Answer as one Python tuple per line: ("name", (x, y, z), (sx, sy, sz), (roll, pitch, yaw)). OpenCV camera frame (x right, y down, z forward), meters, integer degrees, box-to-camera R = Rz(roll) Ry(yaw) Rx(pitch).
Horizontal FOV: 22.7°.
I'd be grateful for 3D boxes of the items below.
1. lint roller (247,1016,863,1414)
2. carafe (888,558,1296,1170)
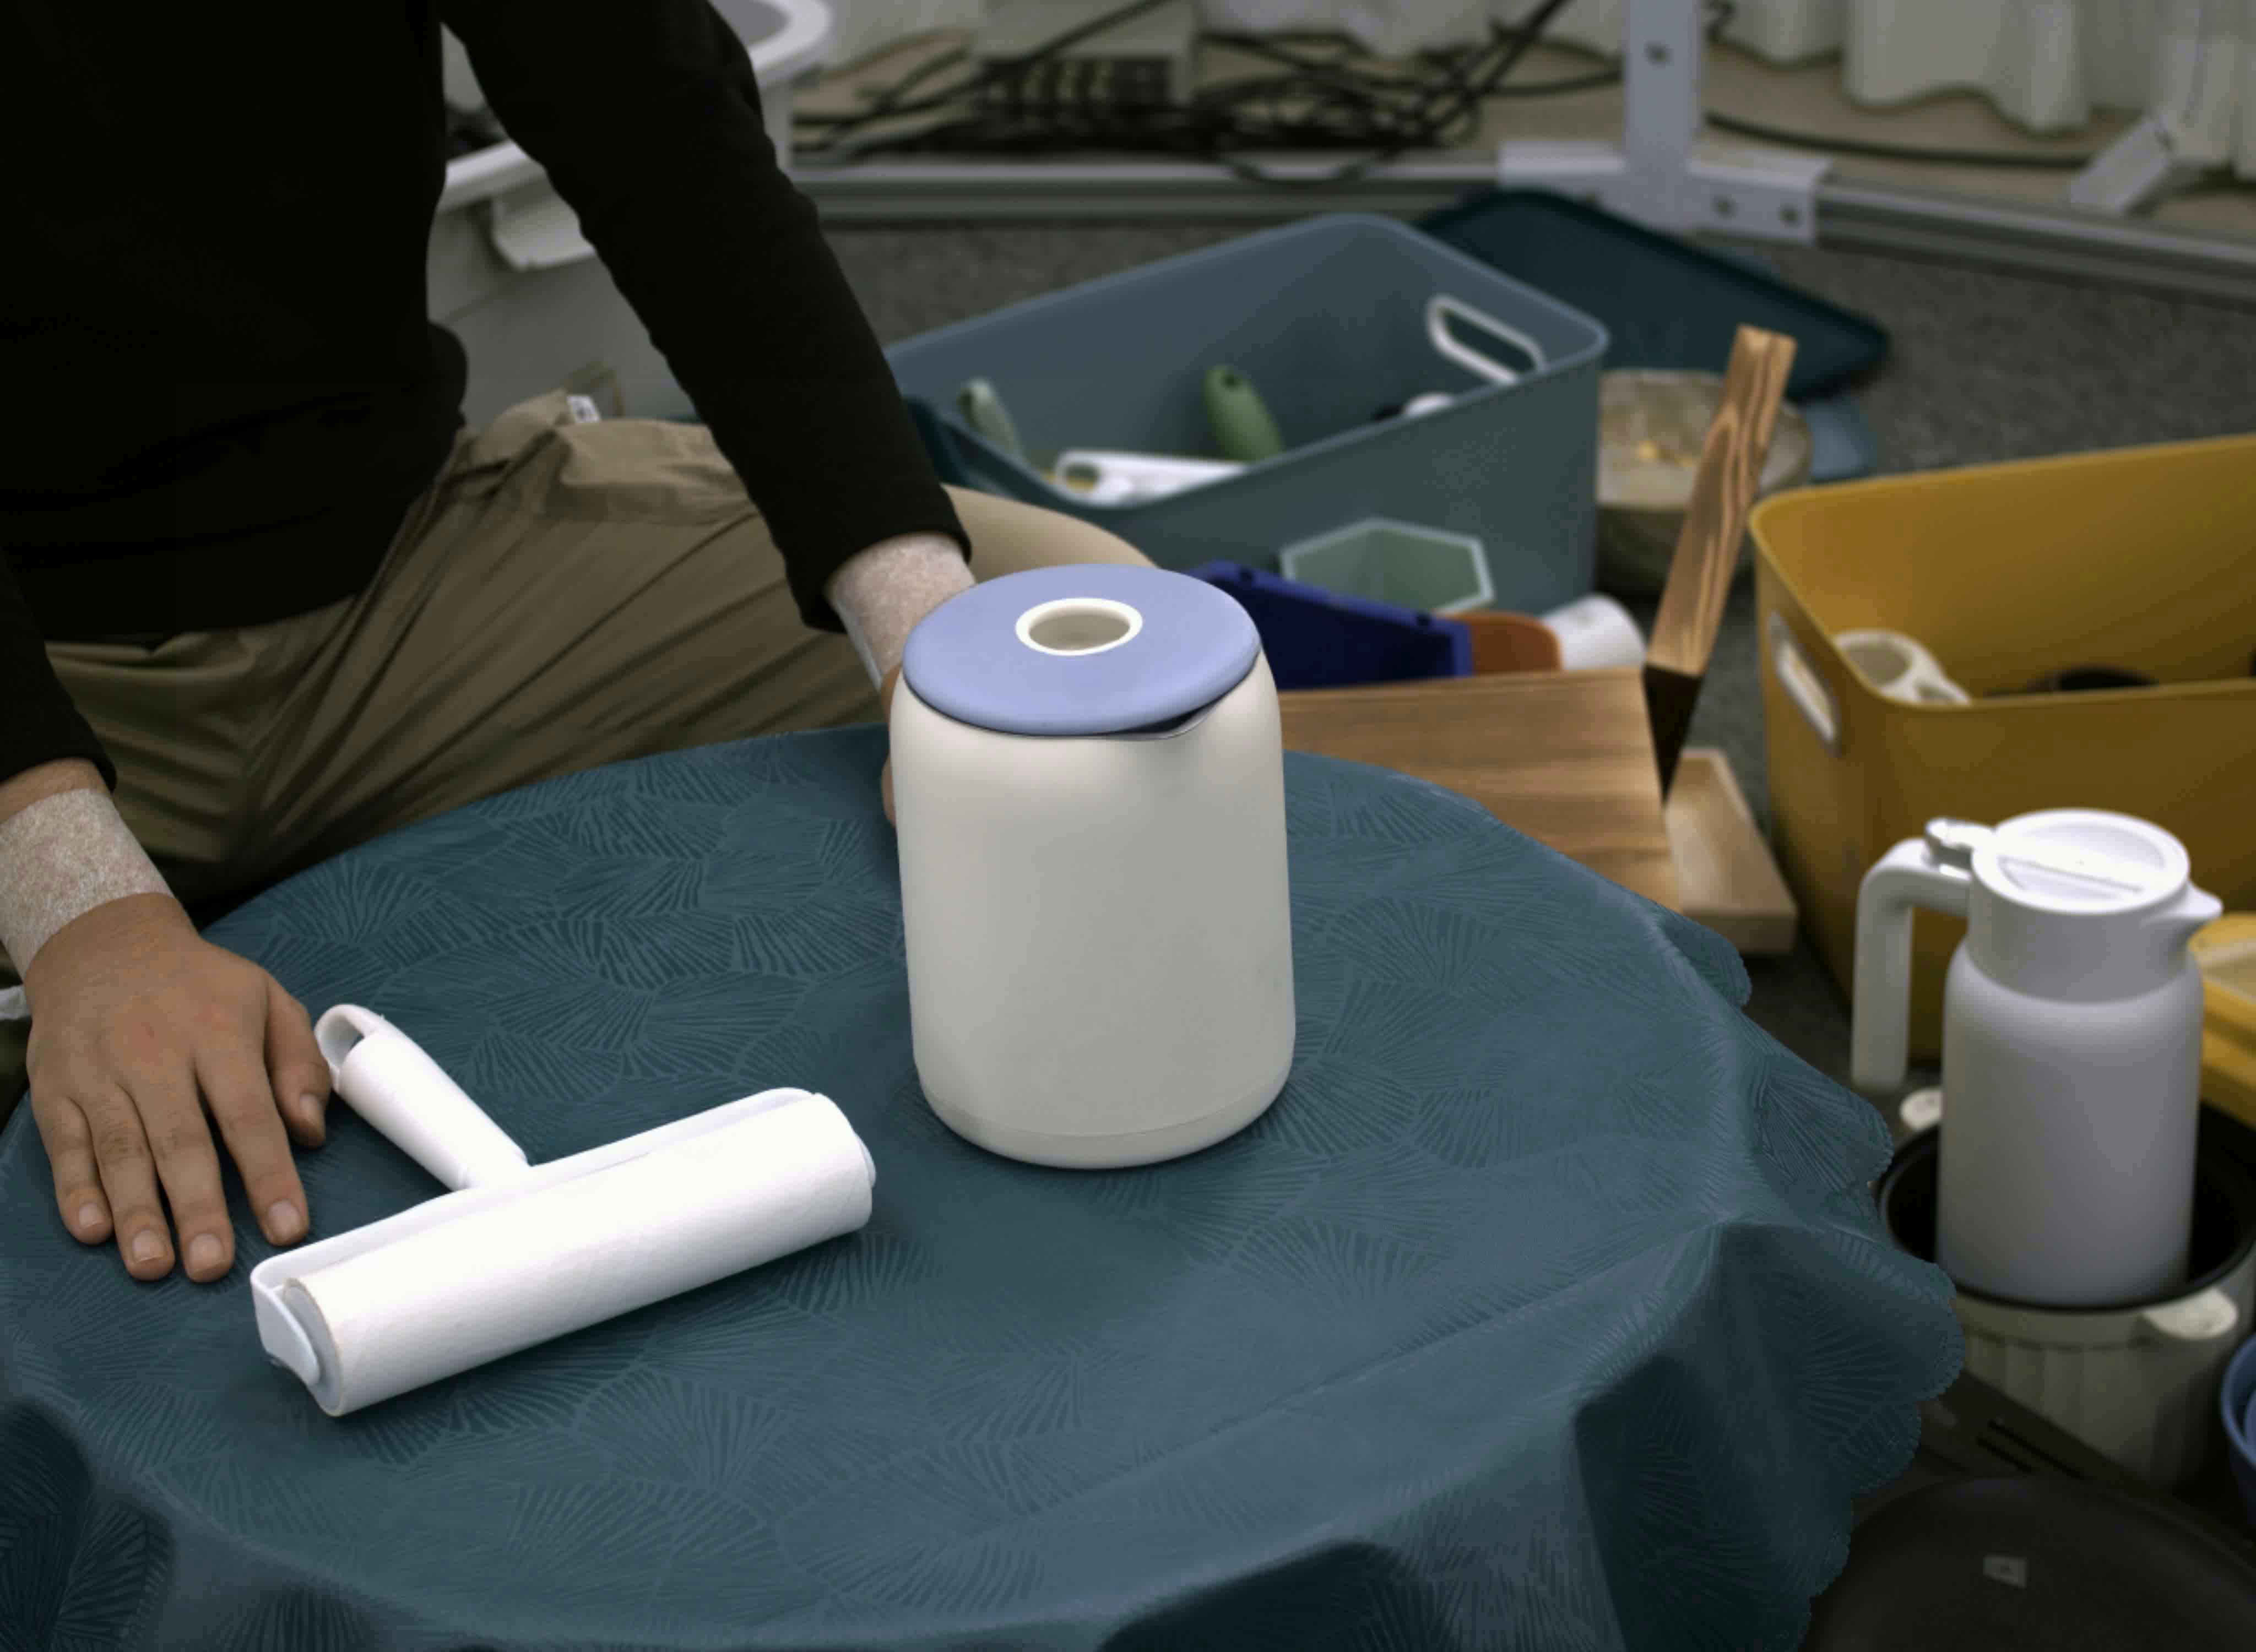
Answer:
("lint roller", (-0.223, 0.105, 1.869), (0.204, 0.048, 0.226), (-19, 30, -27))
("carafe", (-0.024, 0.003, 1.908), (0.133, 0.181, 0.192), (-16, 27, -25))
